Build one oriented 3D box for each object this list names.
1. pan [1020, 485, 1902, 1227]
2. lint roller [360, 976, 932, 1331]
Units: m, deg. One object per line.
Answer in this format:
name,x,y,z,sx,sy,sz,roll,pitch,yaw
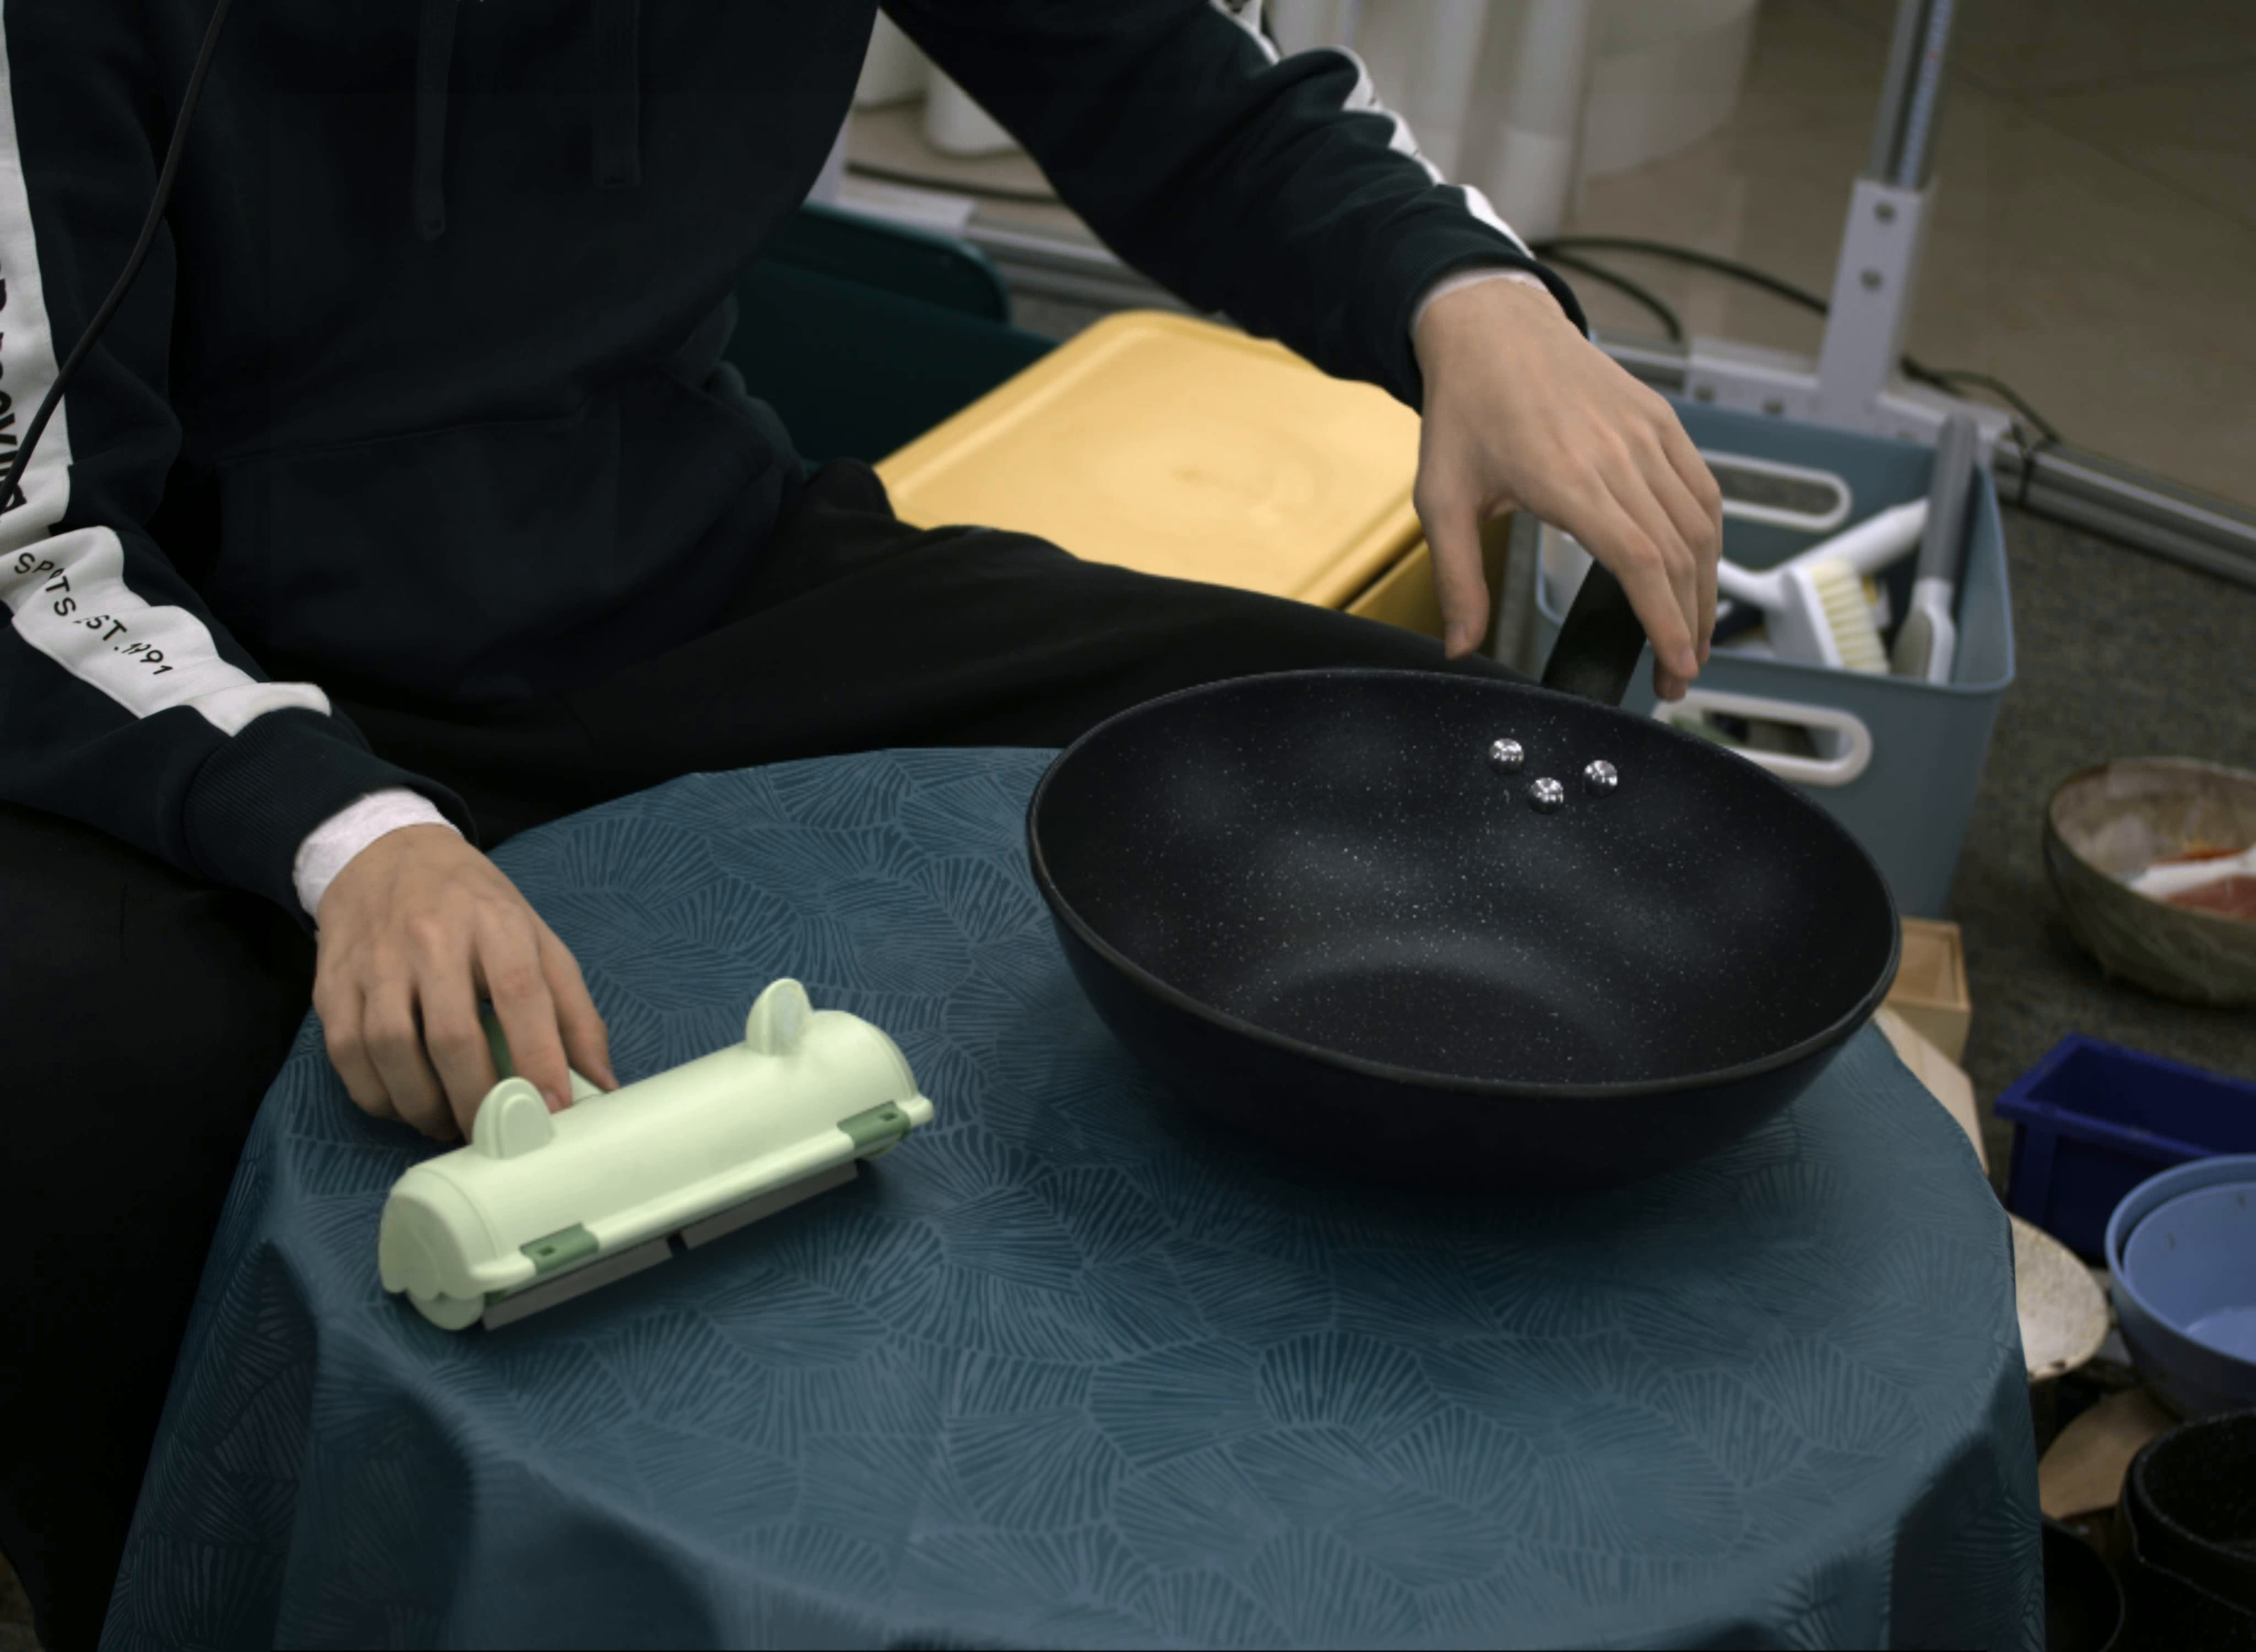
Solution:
pan,0.138,0.011,1.934,0.310,0.111,0.477,15,29,13
lint roller,-0.192,0.079,1.761,0.197,0.082,0.185,-20,42,-41
